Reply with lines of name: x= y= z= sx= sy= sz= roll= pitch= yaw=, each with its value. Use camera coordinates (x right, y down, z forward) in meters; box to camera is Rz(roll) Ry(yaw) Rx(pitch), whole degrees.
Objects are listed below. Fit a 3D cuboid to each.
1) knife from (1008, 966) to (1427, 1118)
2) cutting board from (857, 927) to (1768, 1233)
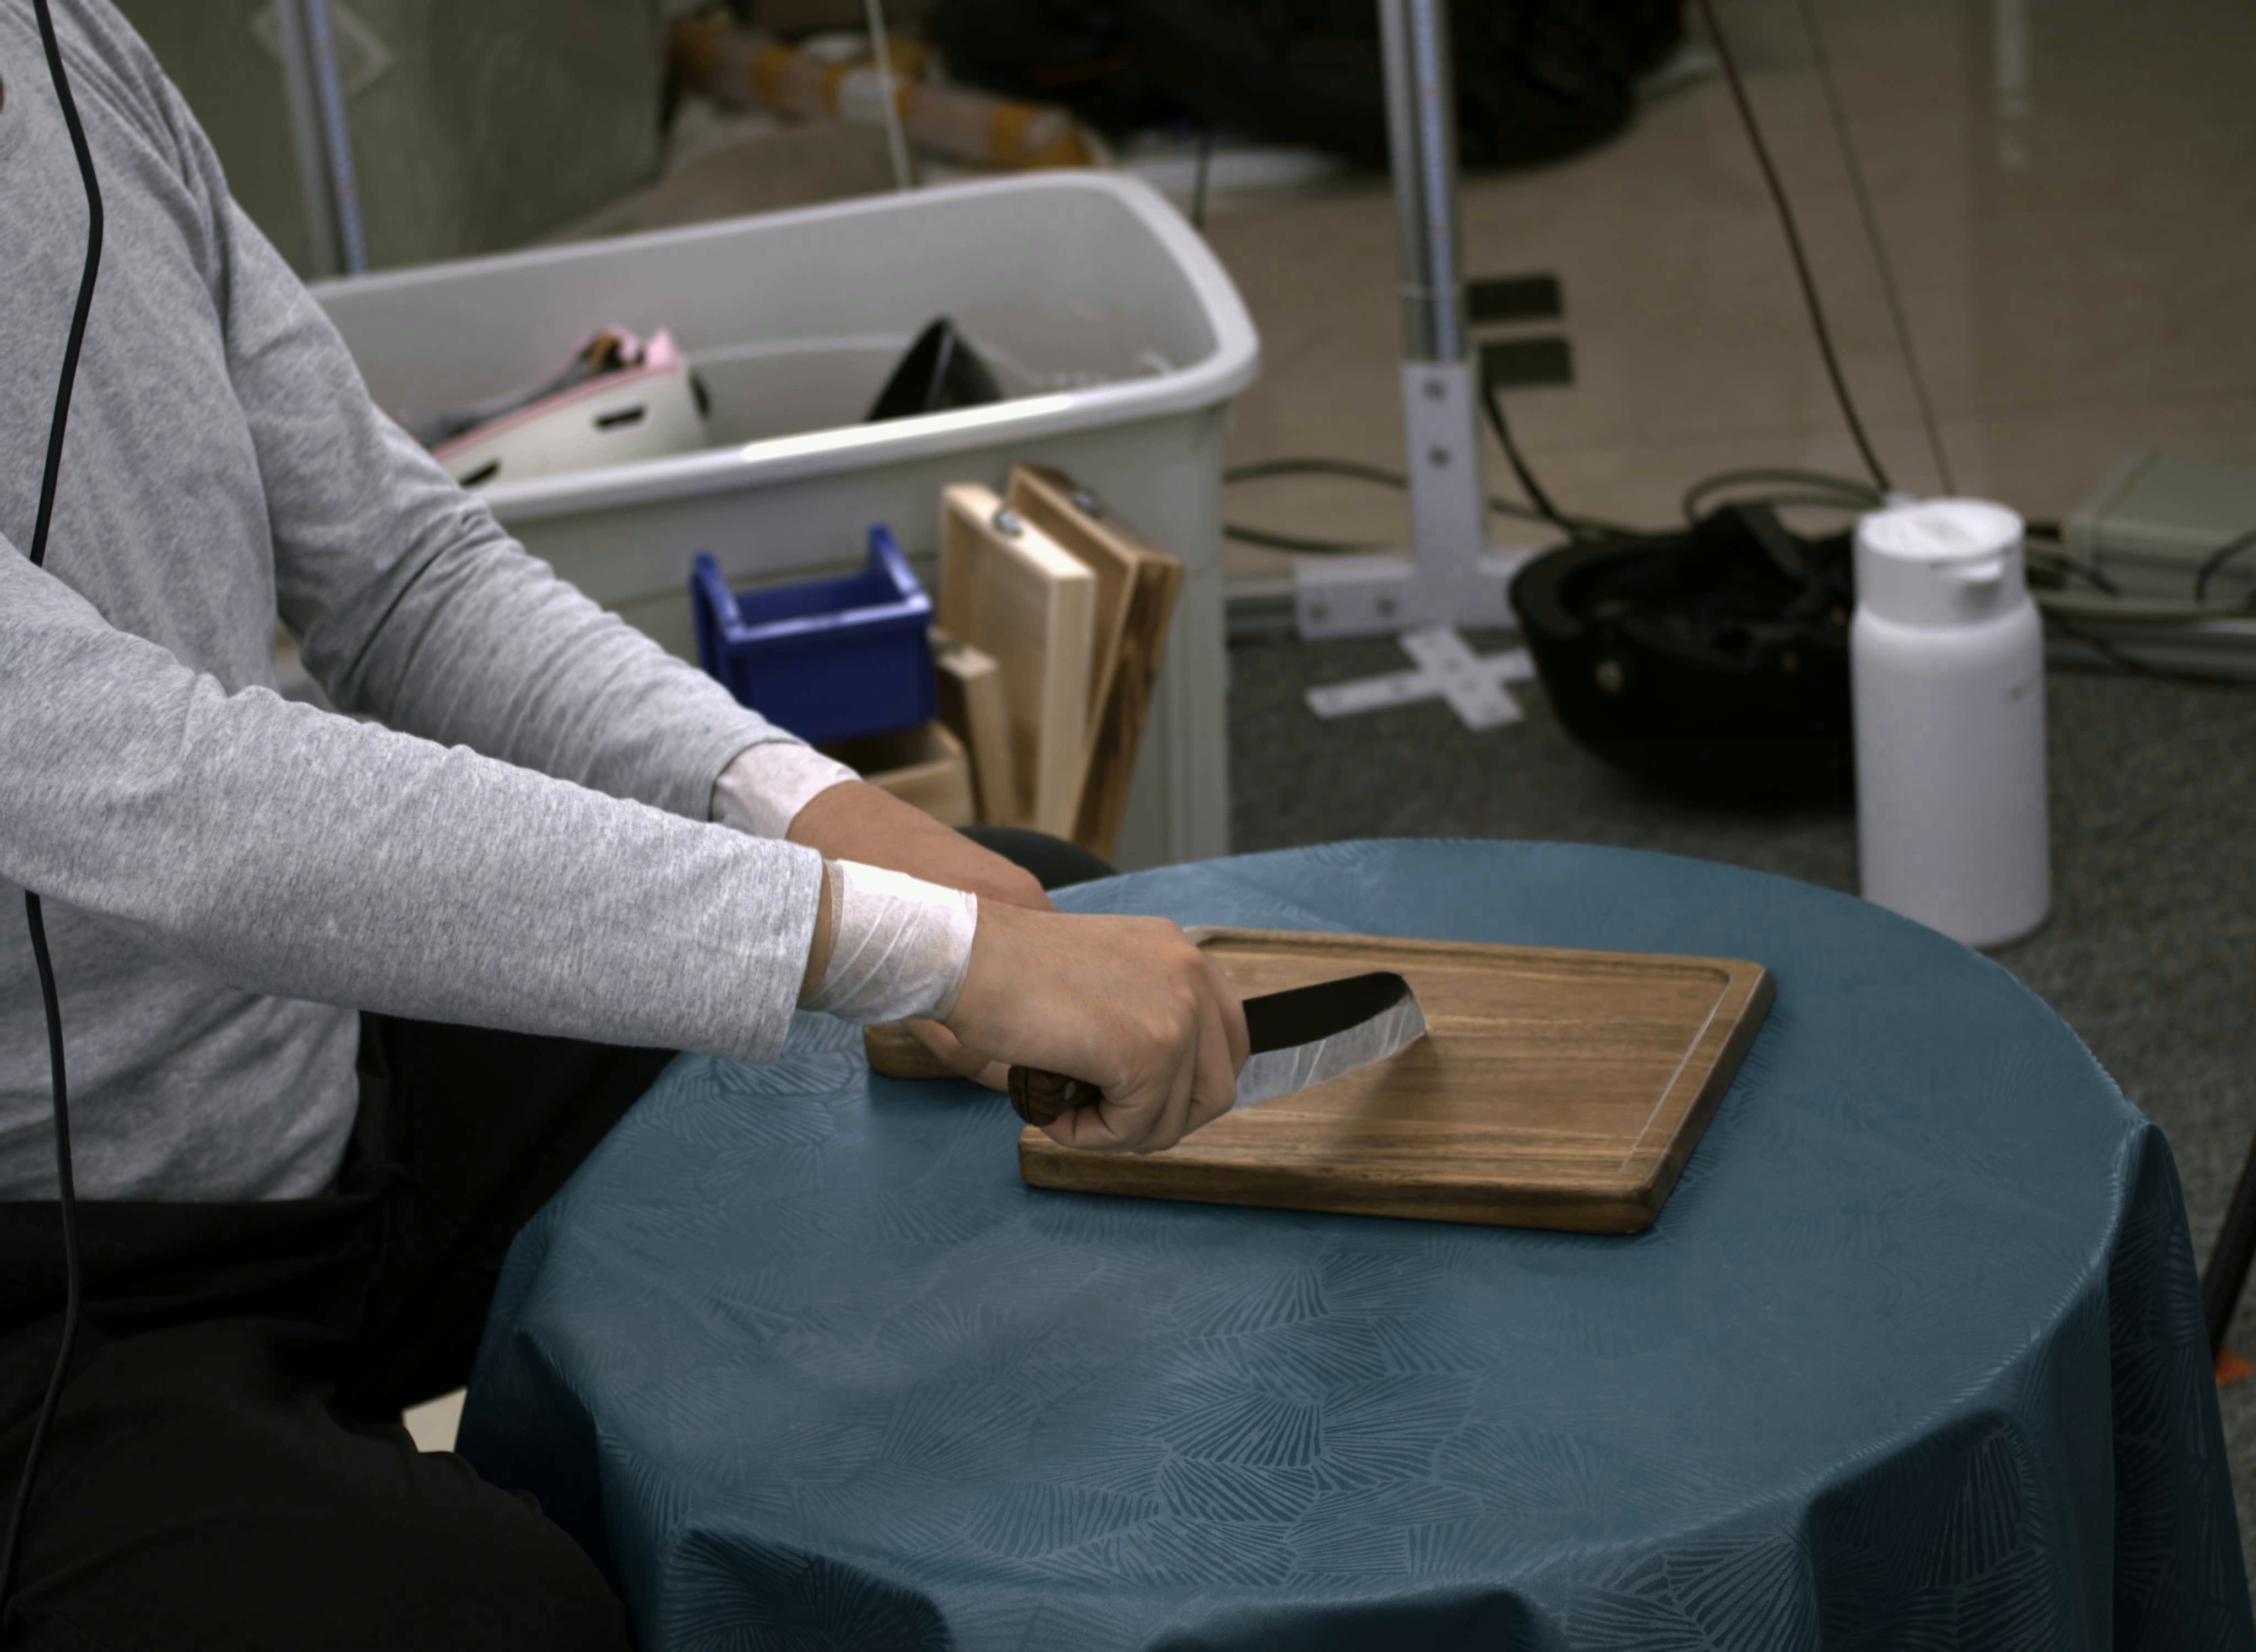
knife: x=0.040 y=0.081 z=2.088 sx=0.020 sy=0.051 sz=0.288 roll=23 pitch=14 yaw=29
cutting board: x=0.059 y=0.092 z=2.214 sx=0.351 sy=0.023 sz=0.198 roll=3 pitch=26 yaw=20
